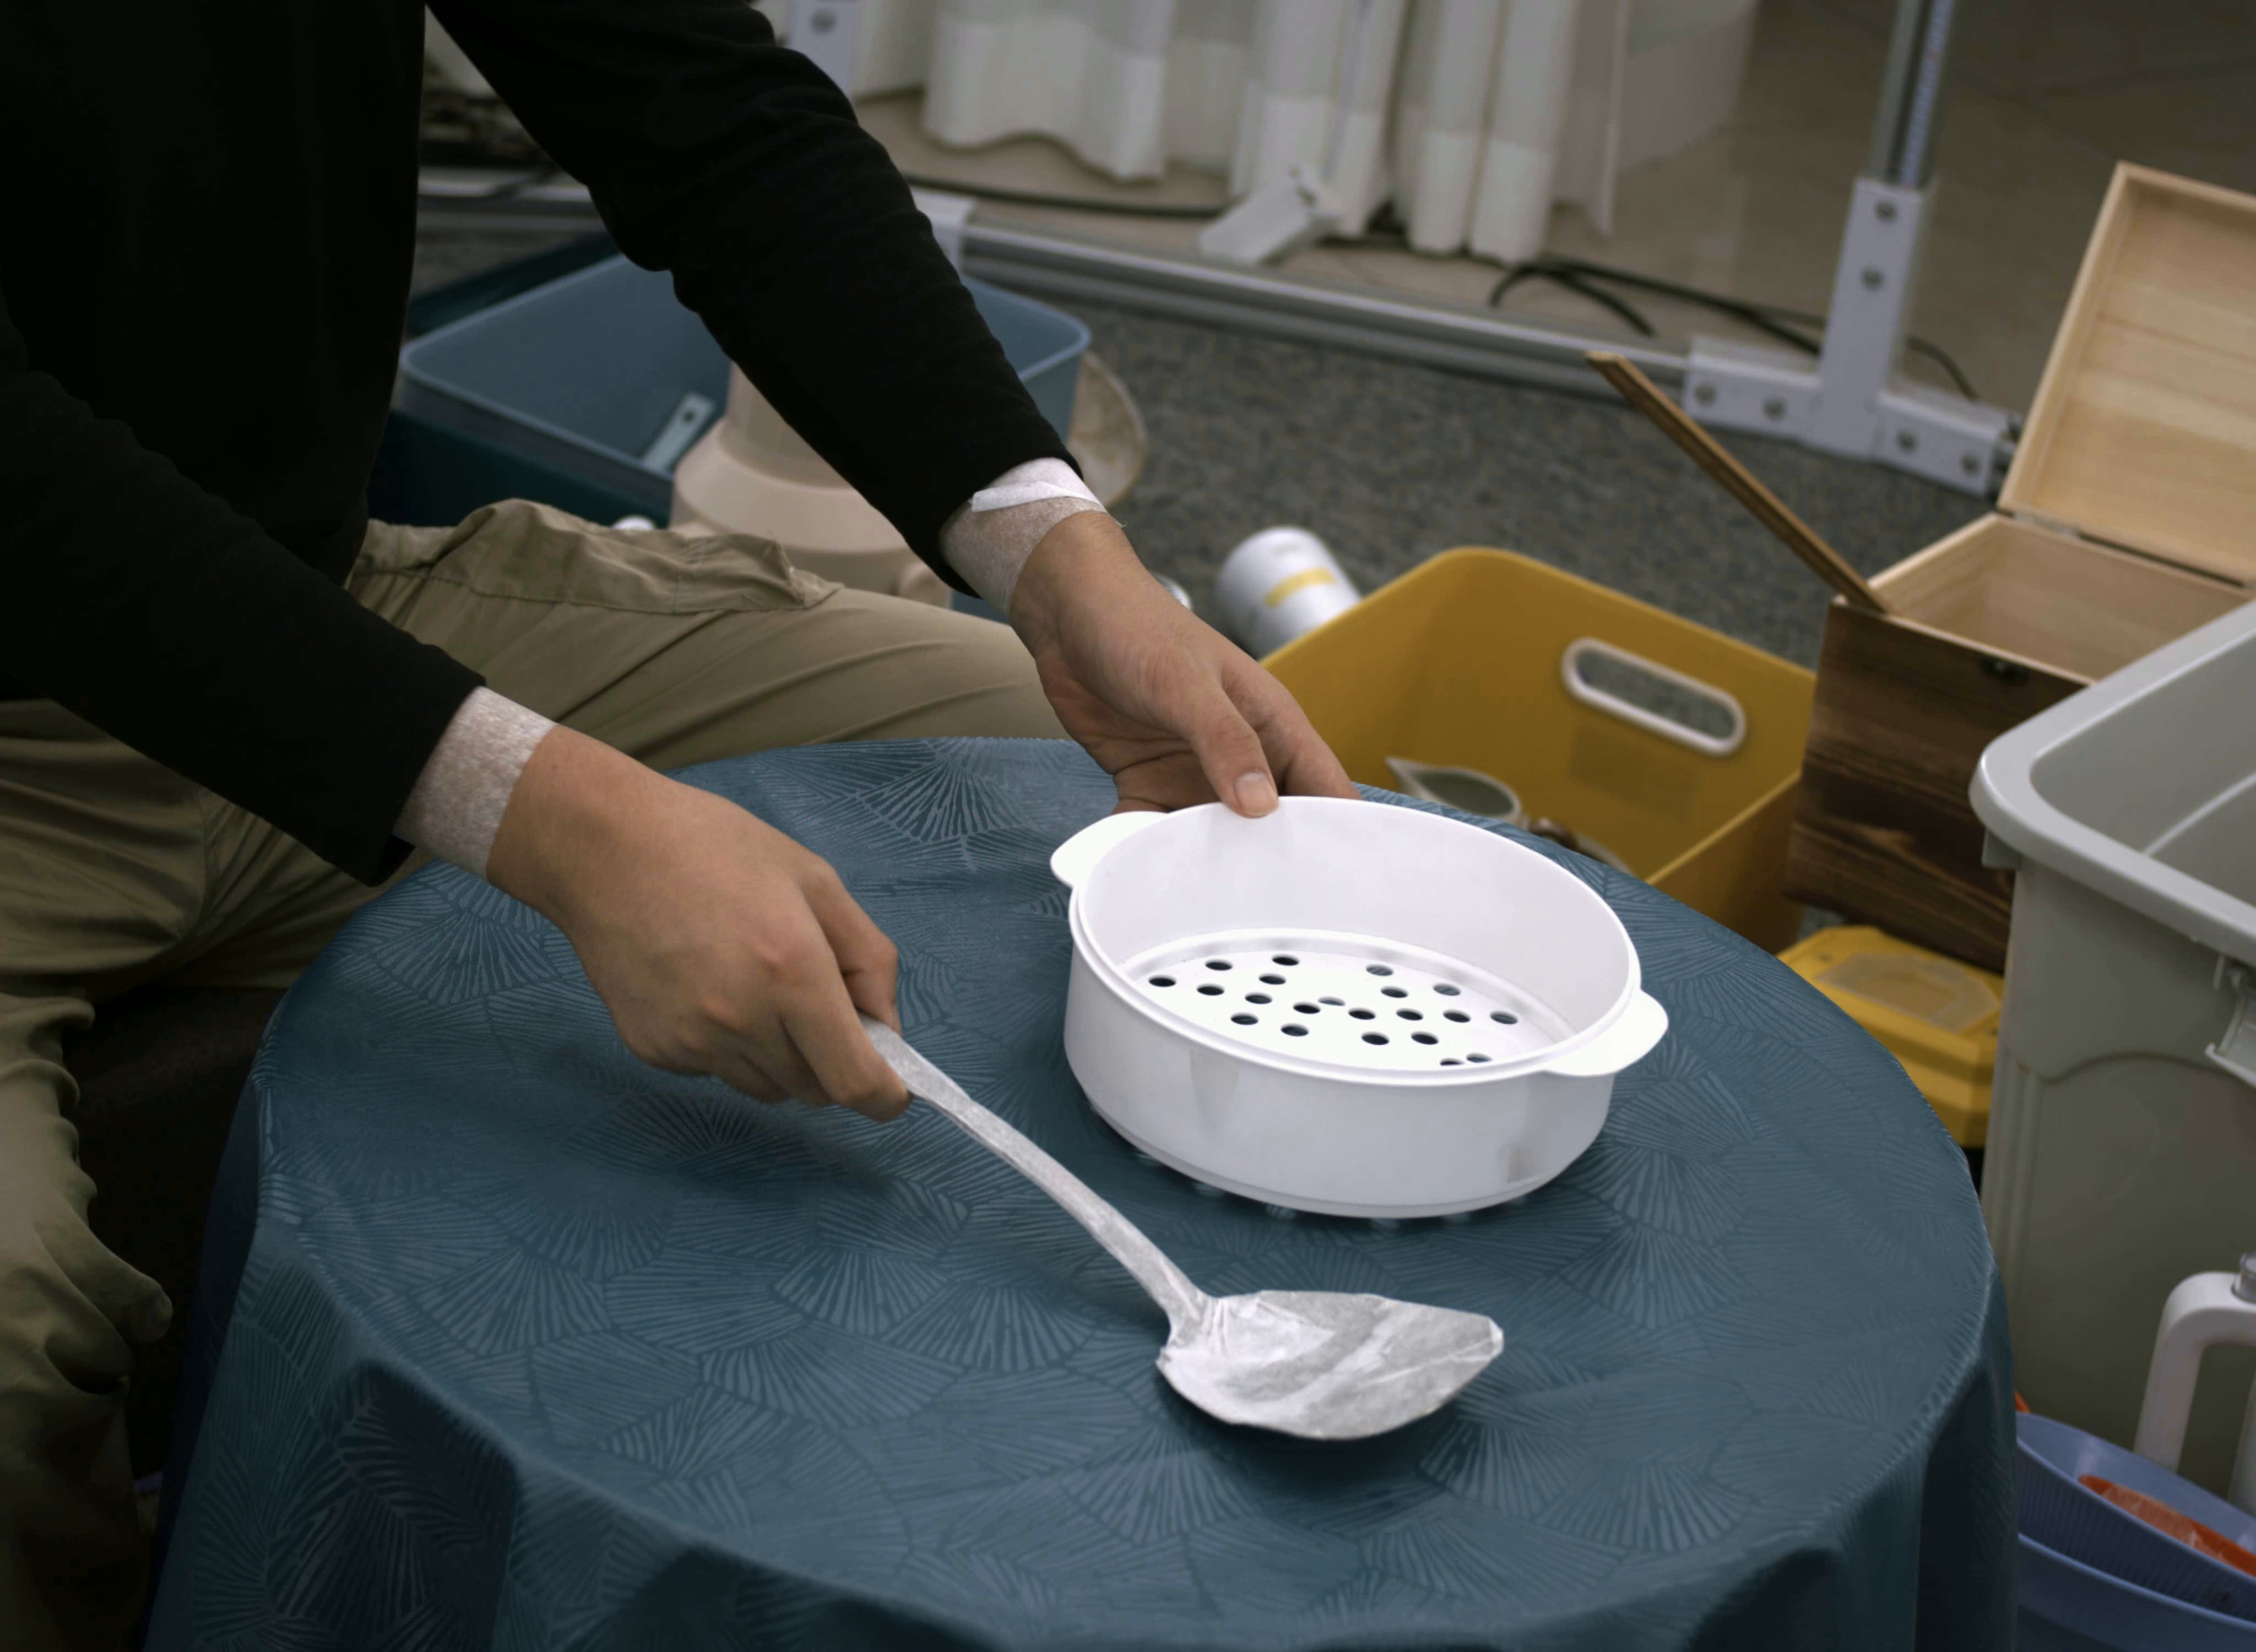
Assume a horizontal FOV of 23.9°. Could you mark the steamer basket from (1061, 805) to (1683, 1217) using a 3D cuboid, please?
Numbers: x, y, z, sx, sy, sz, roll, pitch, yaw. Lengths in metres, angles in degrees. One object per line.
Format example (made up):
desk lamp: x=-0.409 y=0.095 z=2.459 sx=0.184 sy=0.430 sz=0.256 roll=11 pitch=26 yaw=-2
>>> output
steamer basket: x=0.080 y=0.065 z=1.858 sx=0.232 sy=0.069 sz=0.201 roll=20 pitch=29 yaw=27

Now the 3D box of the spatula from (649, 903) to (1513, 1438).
spatula: x=-0.035 y=0.104 z=1.757 sx=0.367 sy=0.044 sz=0.098 roll=34 pitch=40 yaw=28
